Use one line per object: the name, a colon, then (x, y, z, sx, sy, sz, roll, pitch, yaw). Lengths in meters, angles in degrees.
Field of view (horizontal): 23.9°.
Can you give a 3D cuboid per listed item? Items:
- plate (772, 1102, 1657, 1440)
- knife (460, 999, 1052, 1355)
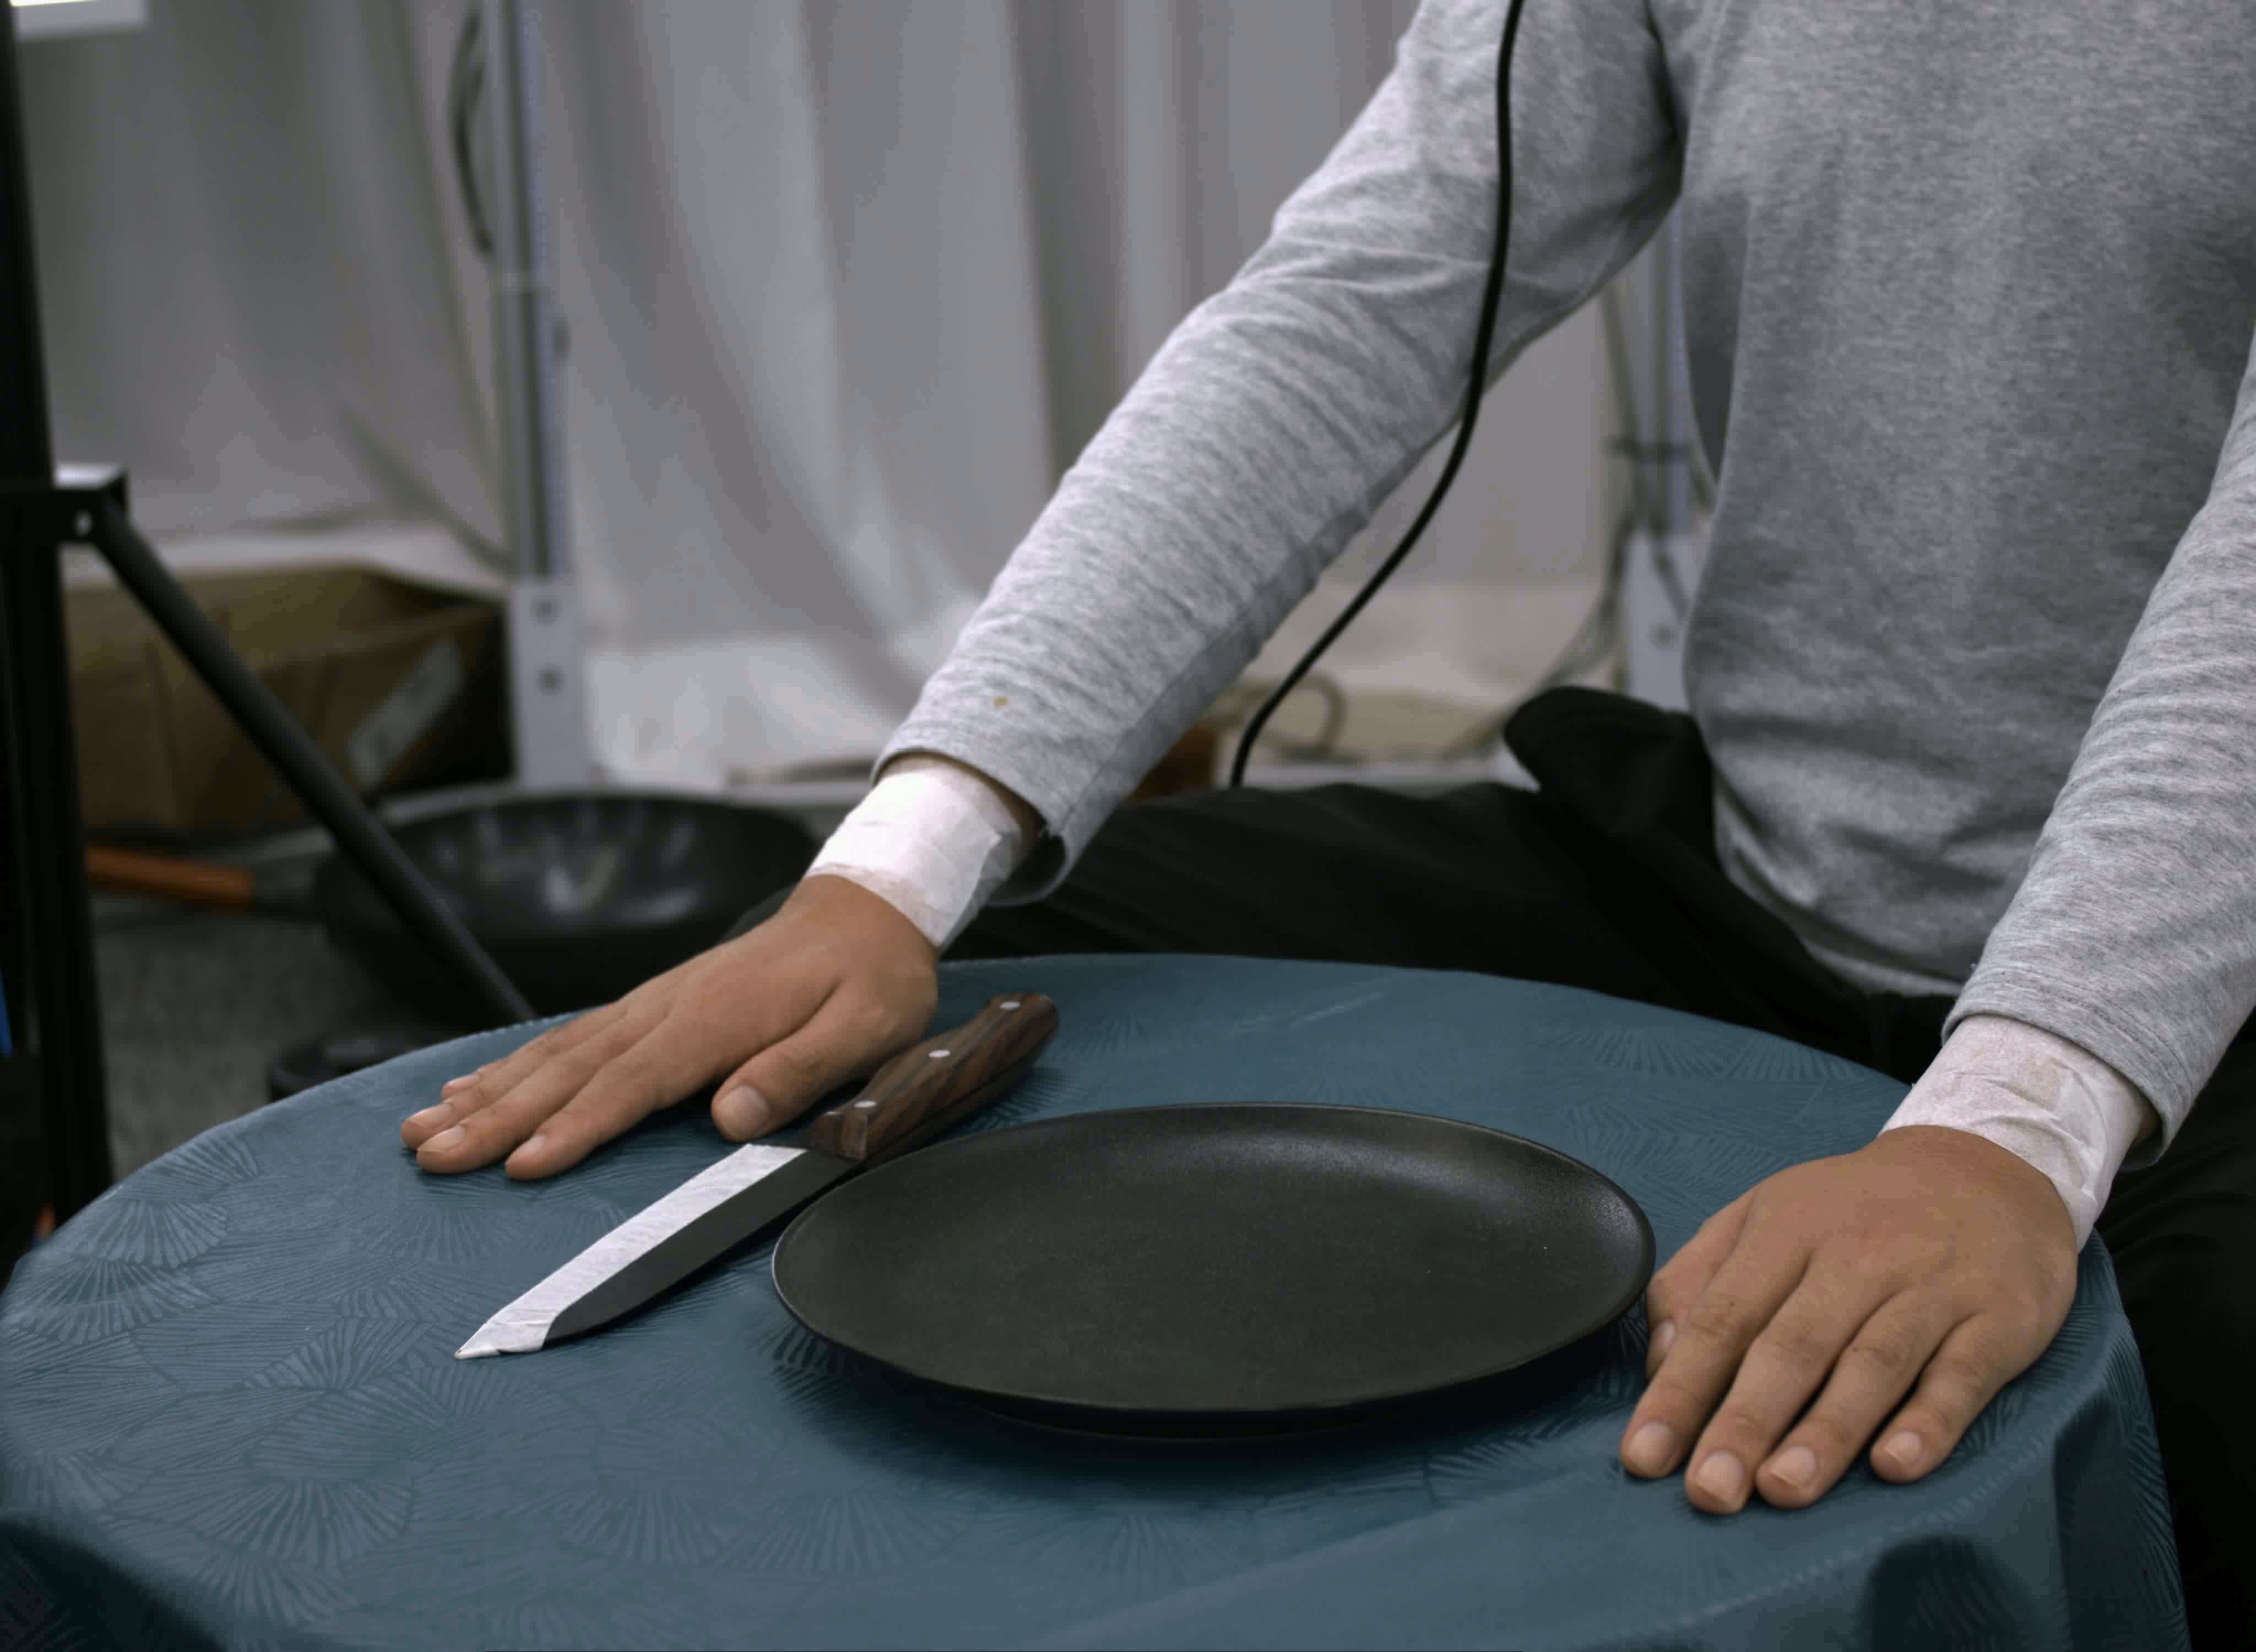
plate: (0.024, 0.125, 1.457, 0.243, 0.023, 0.245, -3, 15, -1)
knife: (-0.104, 0.104, 1.567, 0.051, 0.020, 0.284, 2, 18, 33)
